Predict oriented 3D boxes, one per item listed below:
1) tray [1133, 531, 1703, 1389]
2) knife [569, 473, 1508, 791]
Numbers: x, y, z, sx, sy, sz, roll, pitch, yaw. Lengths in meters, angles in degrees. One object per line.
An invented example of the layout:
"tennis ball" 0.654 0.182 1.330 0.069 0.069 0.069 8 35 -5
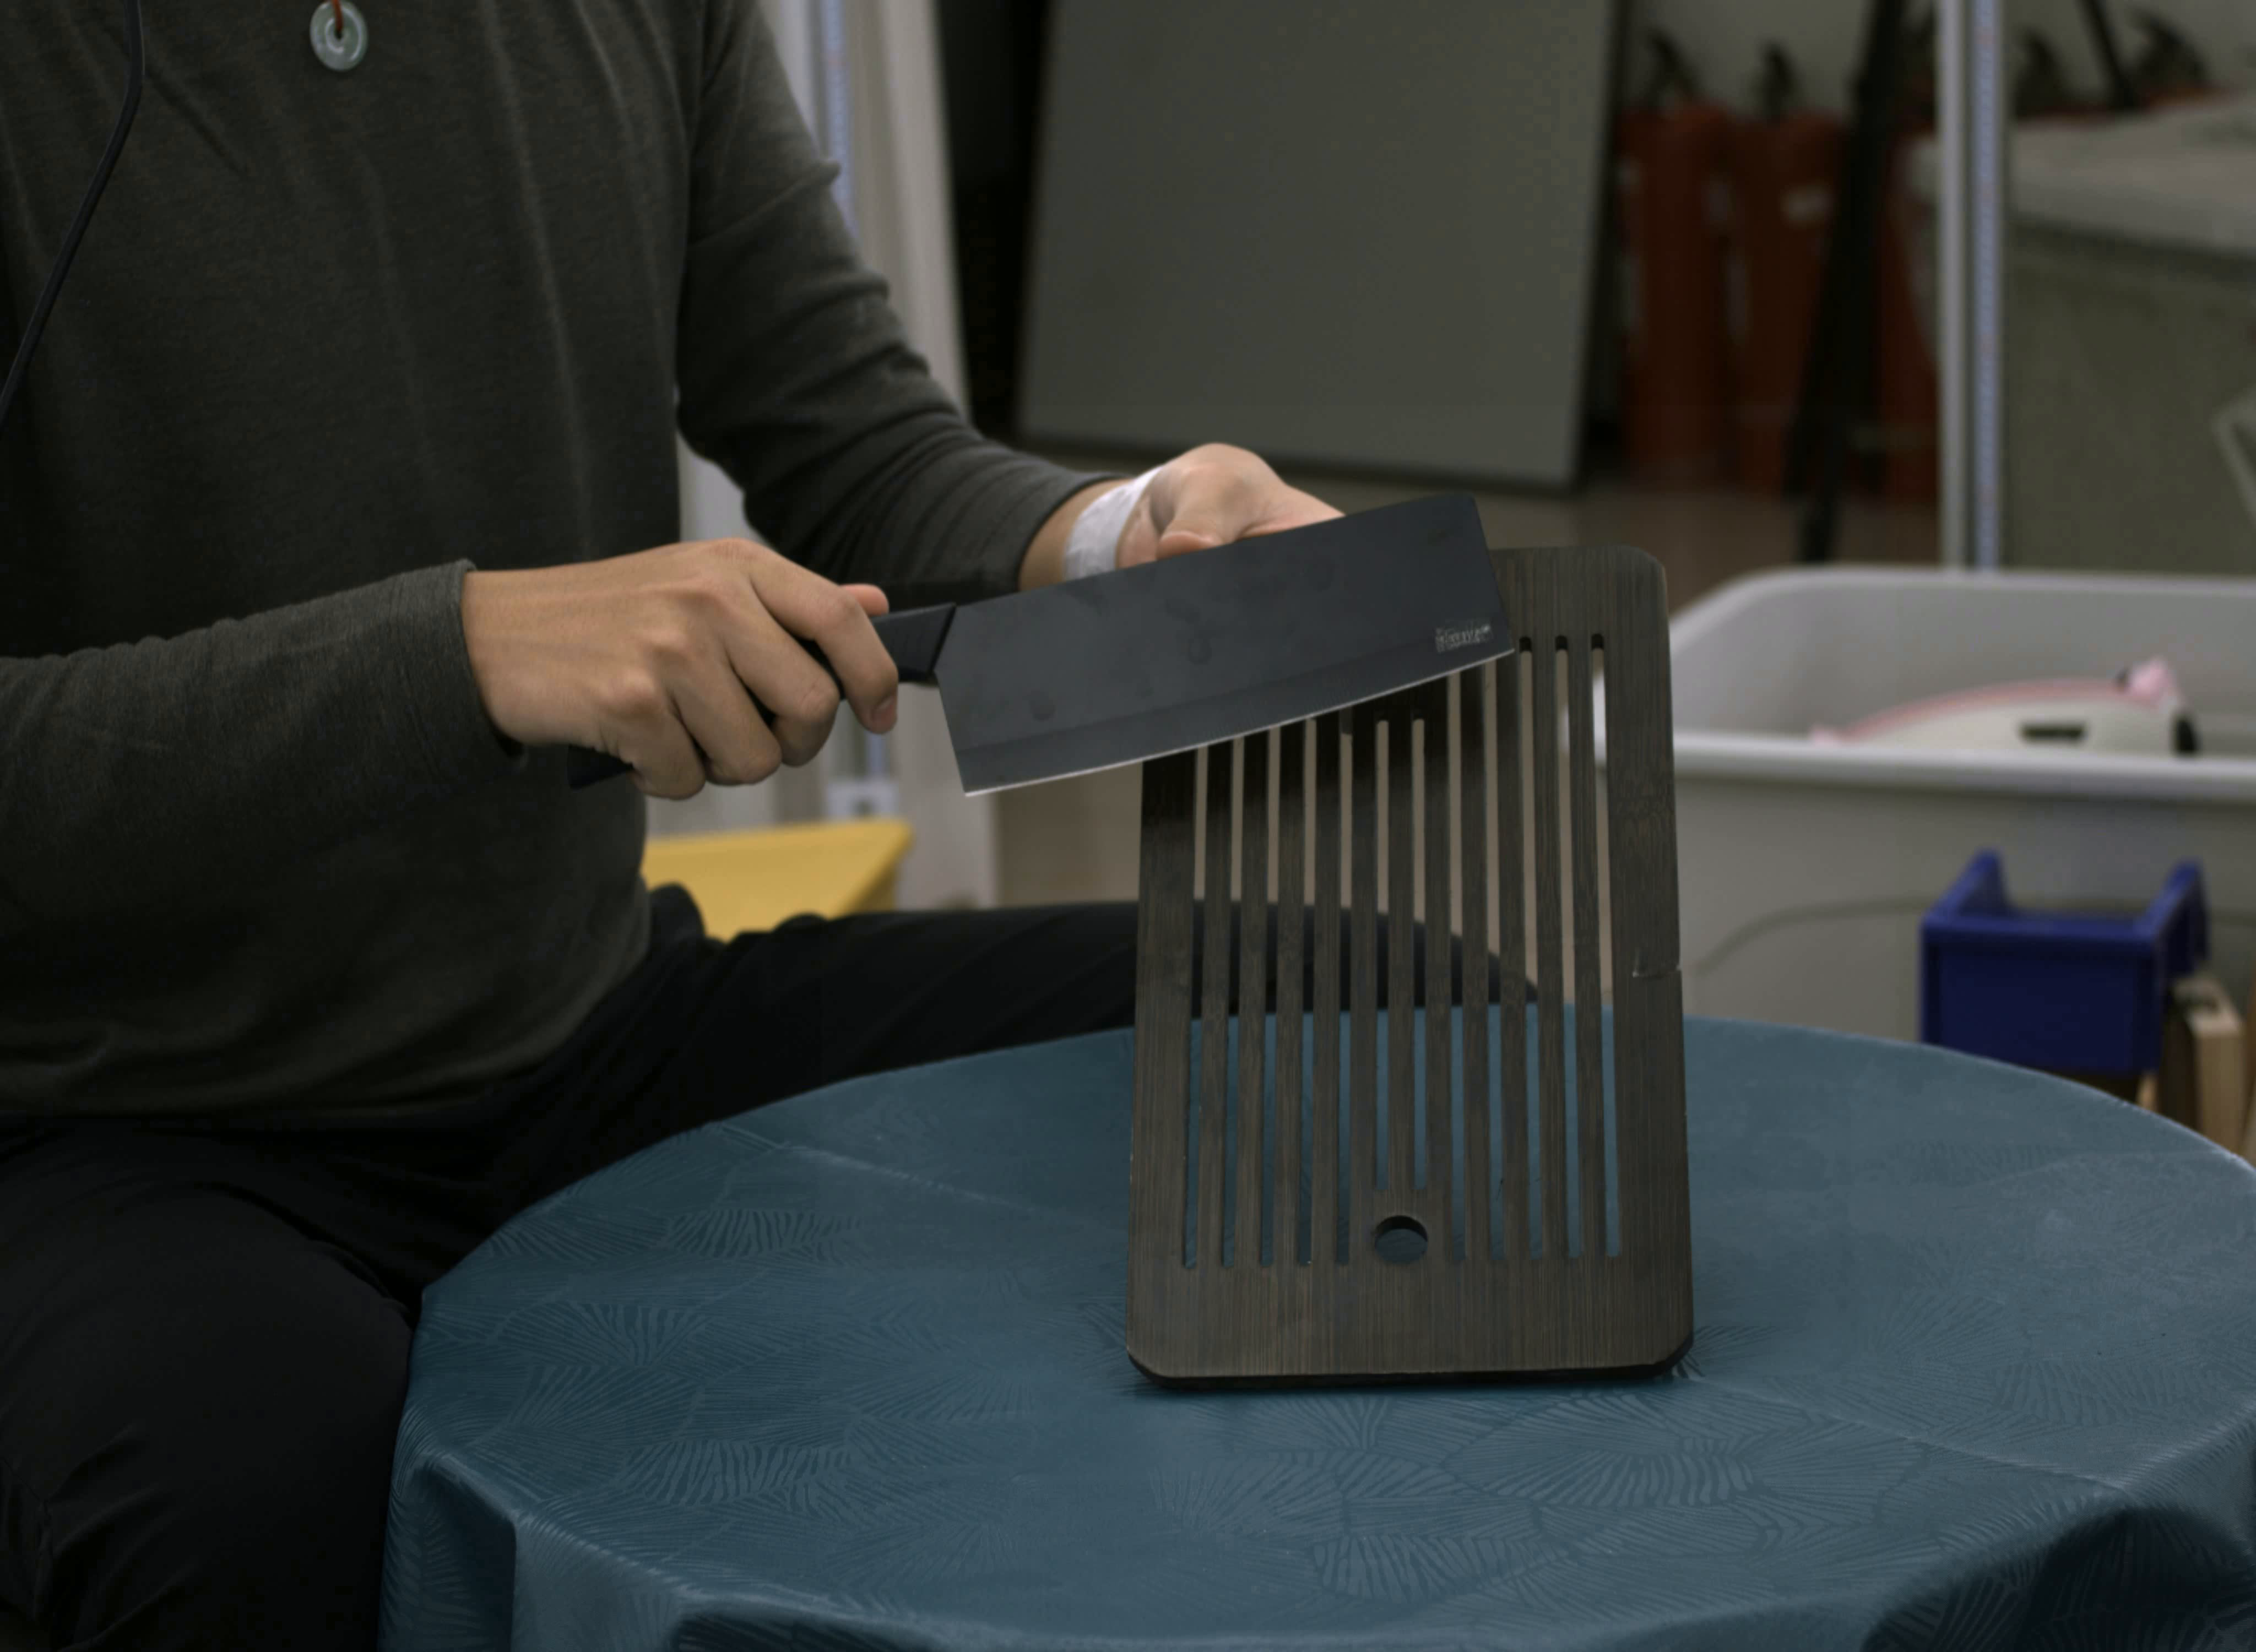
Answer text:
"tray" 0.090 0.037 1.662 0.168 0.018 0.309 -4 54 8
"knife" -0.030 -0.051 1.698 0.299 0.082 0.021 -10 -27 4
